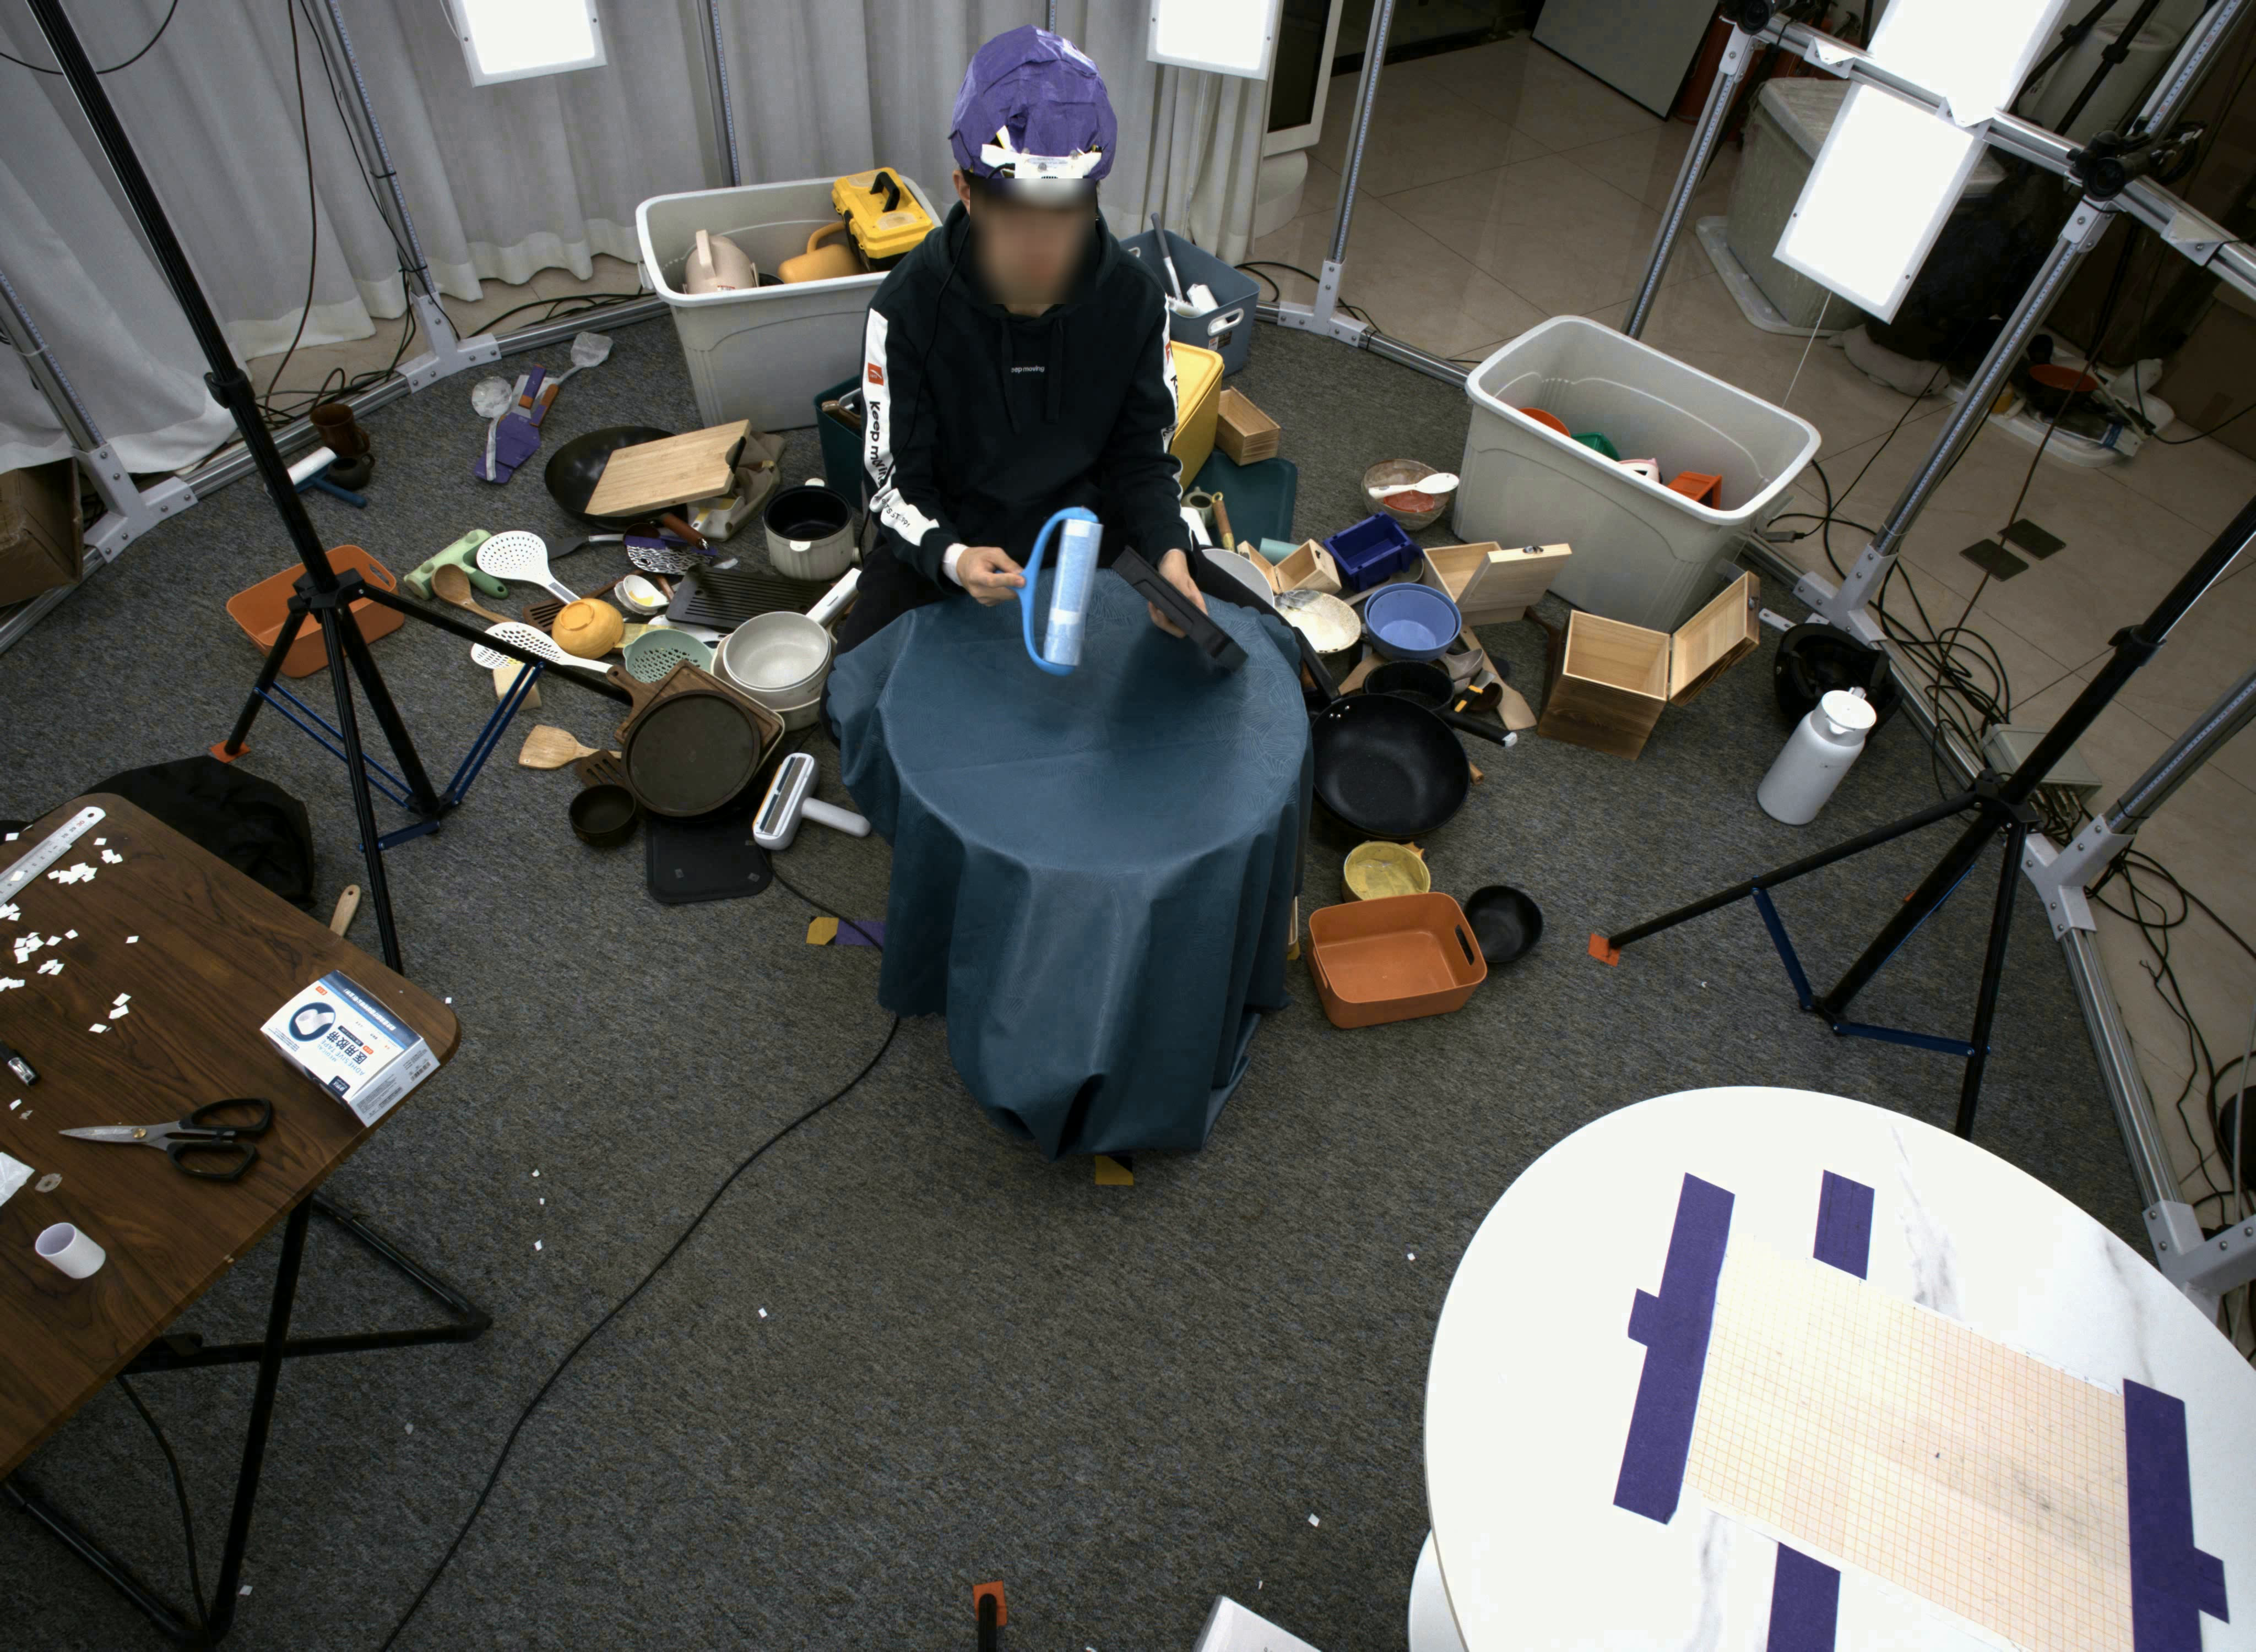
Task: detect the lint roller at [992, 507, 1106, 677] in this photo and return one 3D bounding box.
[{"bbox_3d":[-0.124,-0.328,1.772,0.181,0.227,0.068,12,10,25],"label":"lint roller"}]

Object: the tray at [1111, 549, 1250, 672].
[{"bbox_3d":[0.076,-0.285,1.739,0.185,0.318,0.037,41,99,4],"label":"tray"}]
